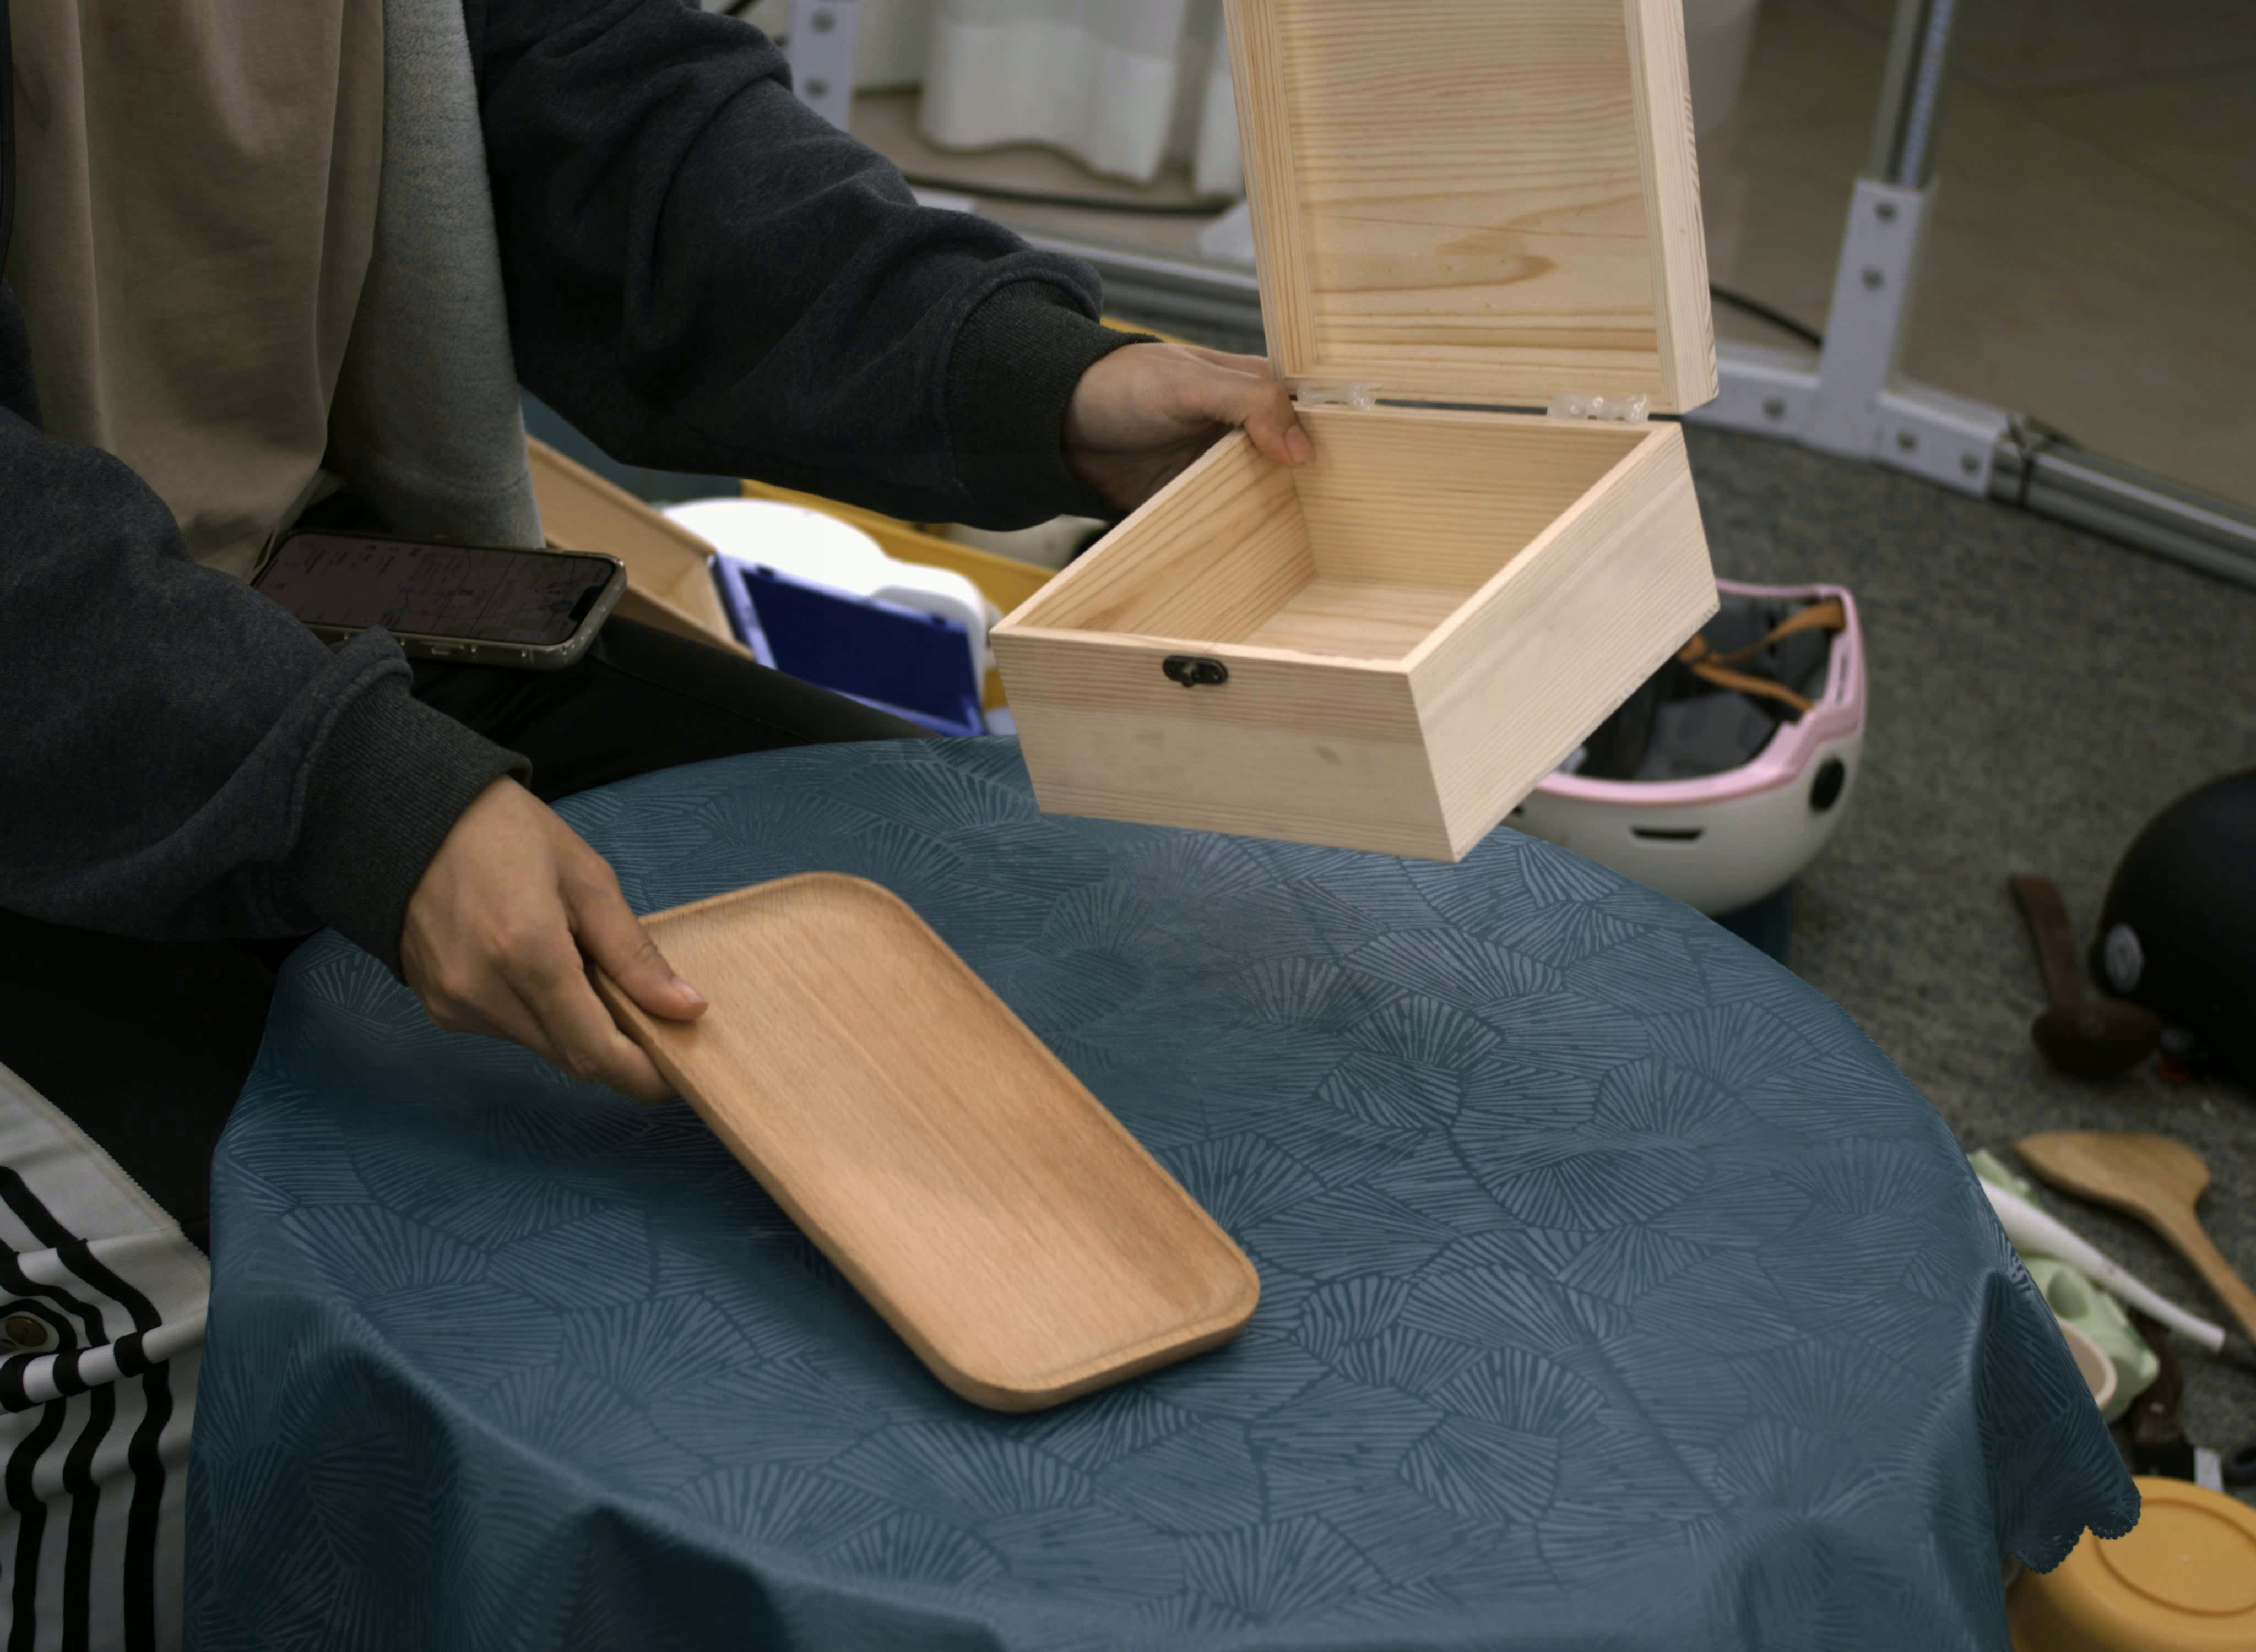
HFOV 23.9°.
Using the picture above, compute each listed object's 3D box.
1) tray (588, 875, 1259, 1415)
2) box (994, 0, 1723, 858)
[{"bbox_3d":[-0.071,0.102,1.760,0.130,0.023,0.253,-12,42,-38],"label":"tray"},{"bbox_3d":[0.079,-0.163,1.868,0.182,0.252,0.265,3,30,38],"label":"box"}]
